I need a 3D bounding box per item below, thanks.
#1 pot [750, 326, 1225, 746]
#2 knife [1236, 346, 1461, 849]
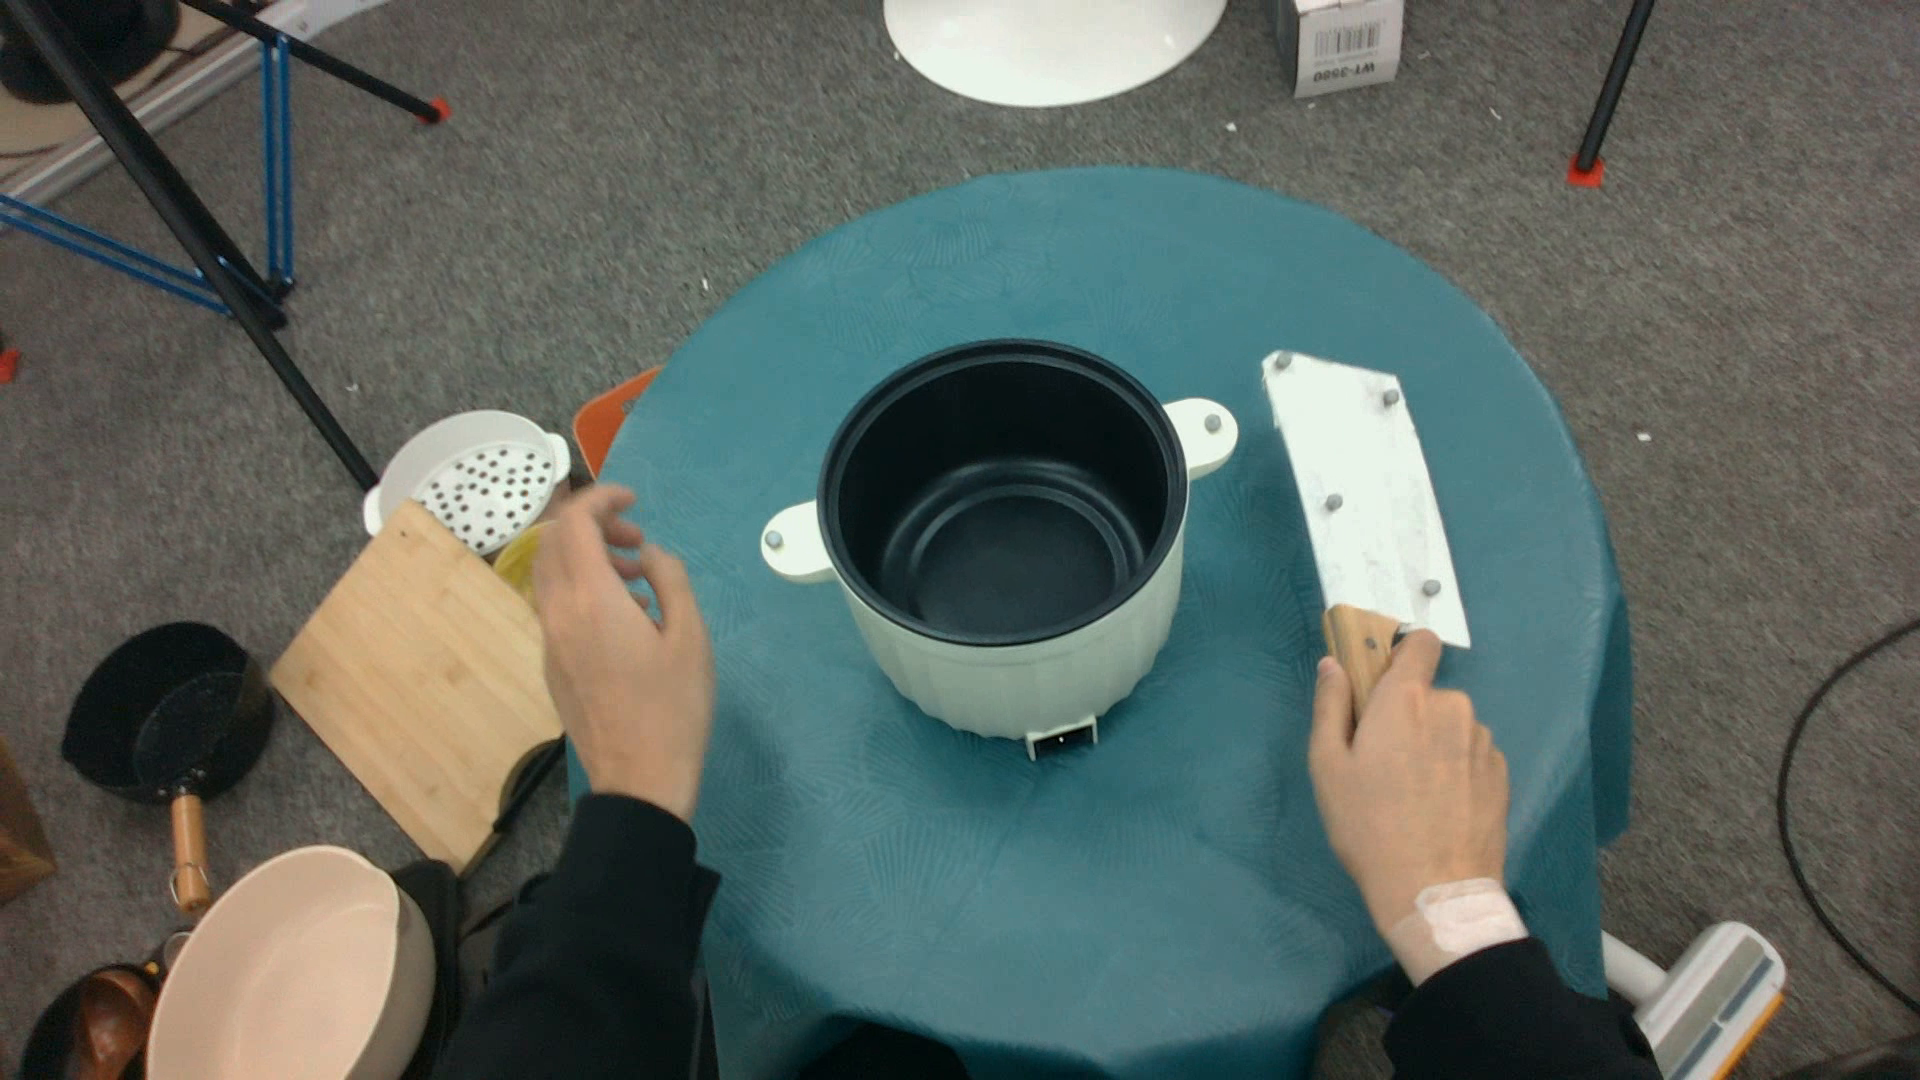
[{"bbox_3d":[0.018,-0.003,0.723,0.240,0.142,0.191,-16,59,-4],"label":"pot"},{"bbox_3d":[0.208,0.012,0.721,0.114,0.021,0.317,13,52,-16],"label":"knife"}]
